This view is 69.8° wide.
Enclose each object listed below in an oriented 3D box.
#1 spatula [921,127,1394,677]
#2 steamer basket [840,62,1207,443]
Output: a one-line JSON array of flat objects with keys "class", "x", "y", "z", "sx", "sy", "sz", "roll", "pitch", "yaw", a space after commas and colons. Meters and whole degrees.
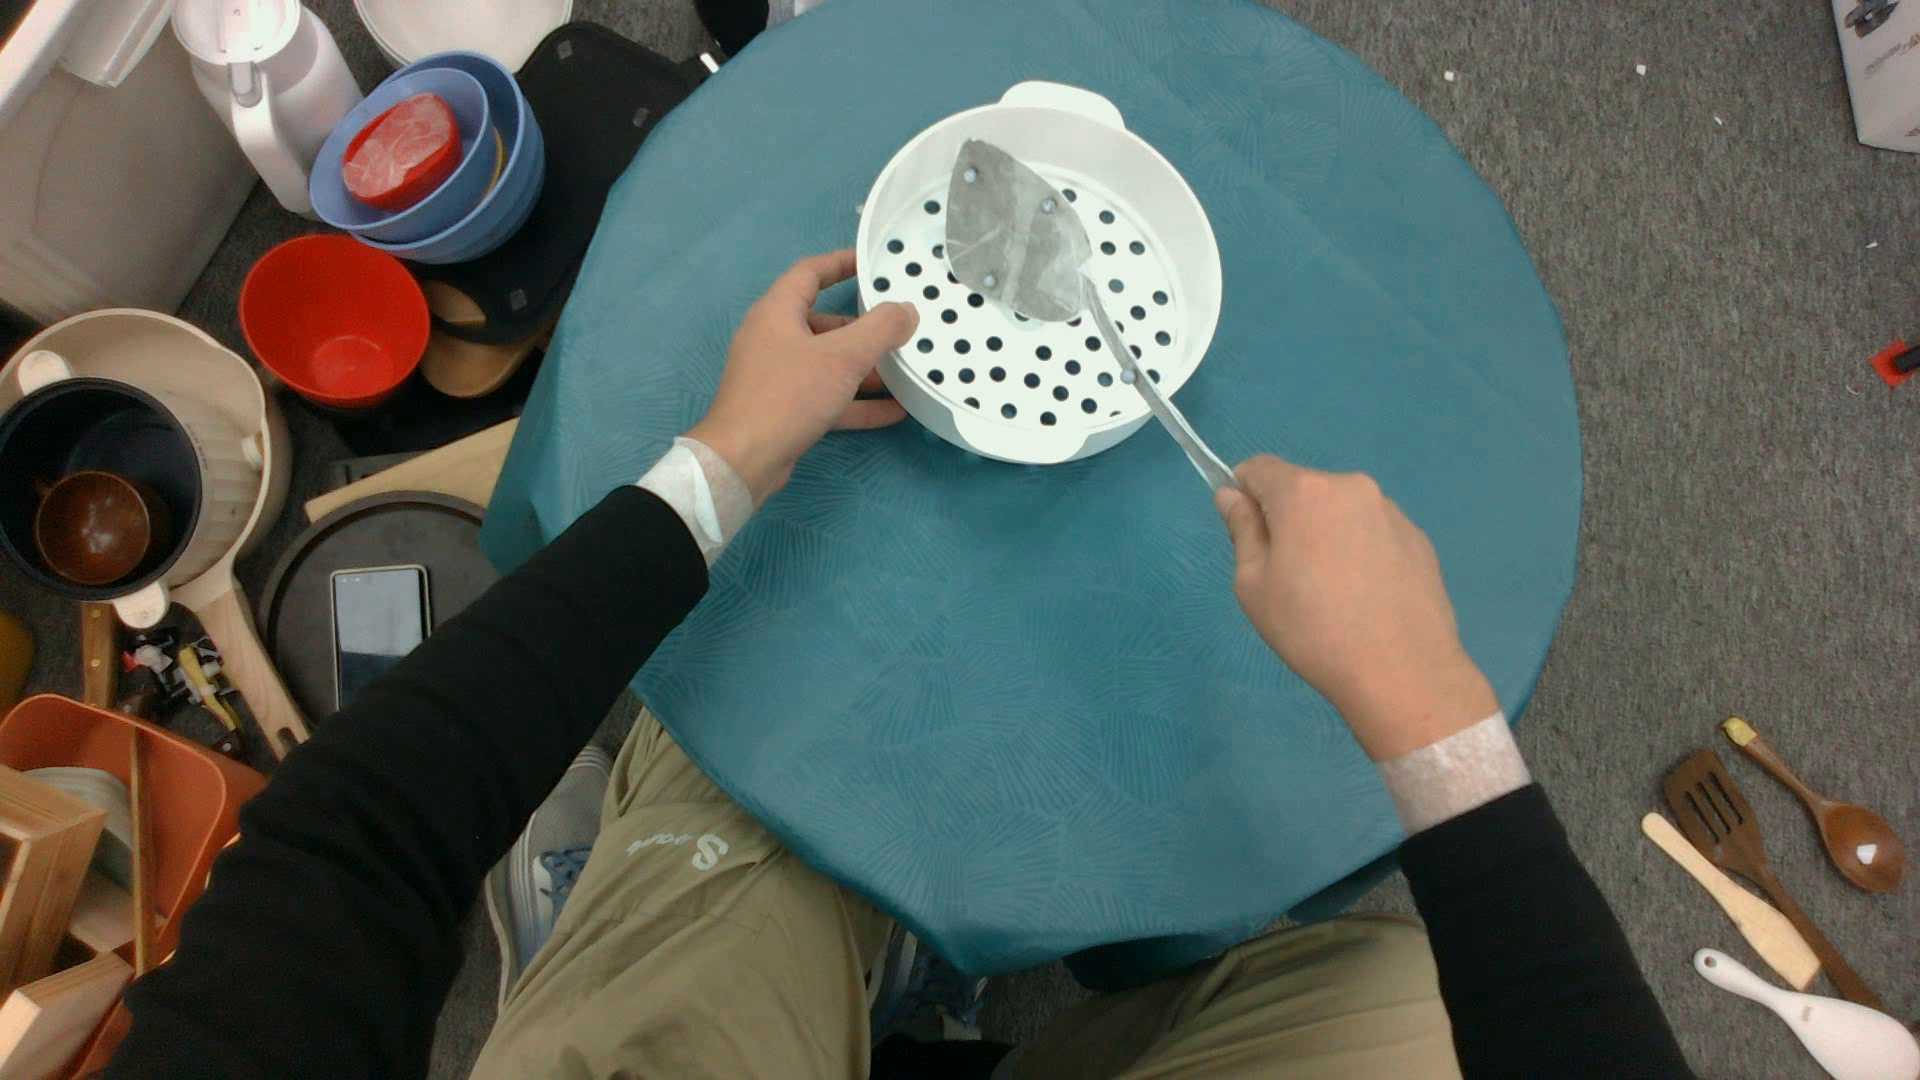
[{"class": "spatula", "x": 0.089, "y": -0.072, "z": 0.687, "sx": 0.045, "sy": 0.098, "sz": 0.365, "roll": -19, "pitch": 58, "yaw": -26}, {"class": "steamer basket", "x": 0.033, "y": -0.153, "z": 0.772, "sx": 0.202, "sy": 0.069, "sz": 0.231, "roll": 10, "pitch": 72, "yaw": -5}]
